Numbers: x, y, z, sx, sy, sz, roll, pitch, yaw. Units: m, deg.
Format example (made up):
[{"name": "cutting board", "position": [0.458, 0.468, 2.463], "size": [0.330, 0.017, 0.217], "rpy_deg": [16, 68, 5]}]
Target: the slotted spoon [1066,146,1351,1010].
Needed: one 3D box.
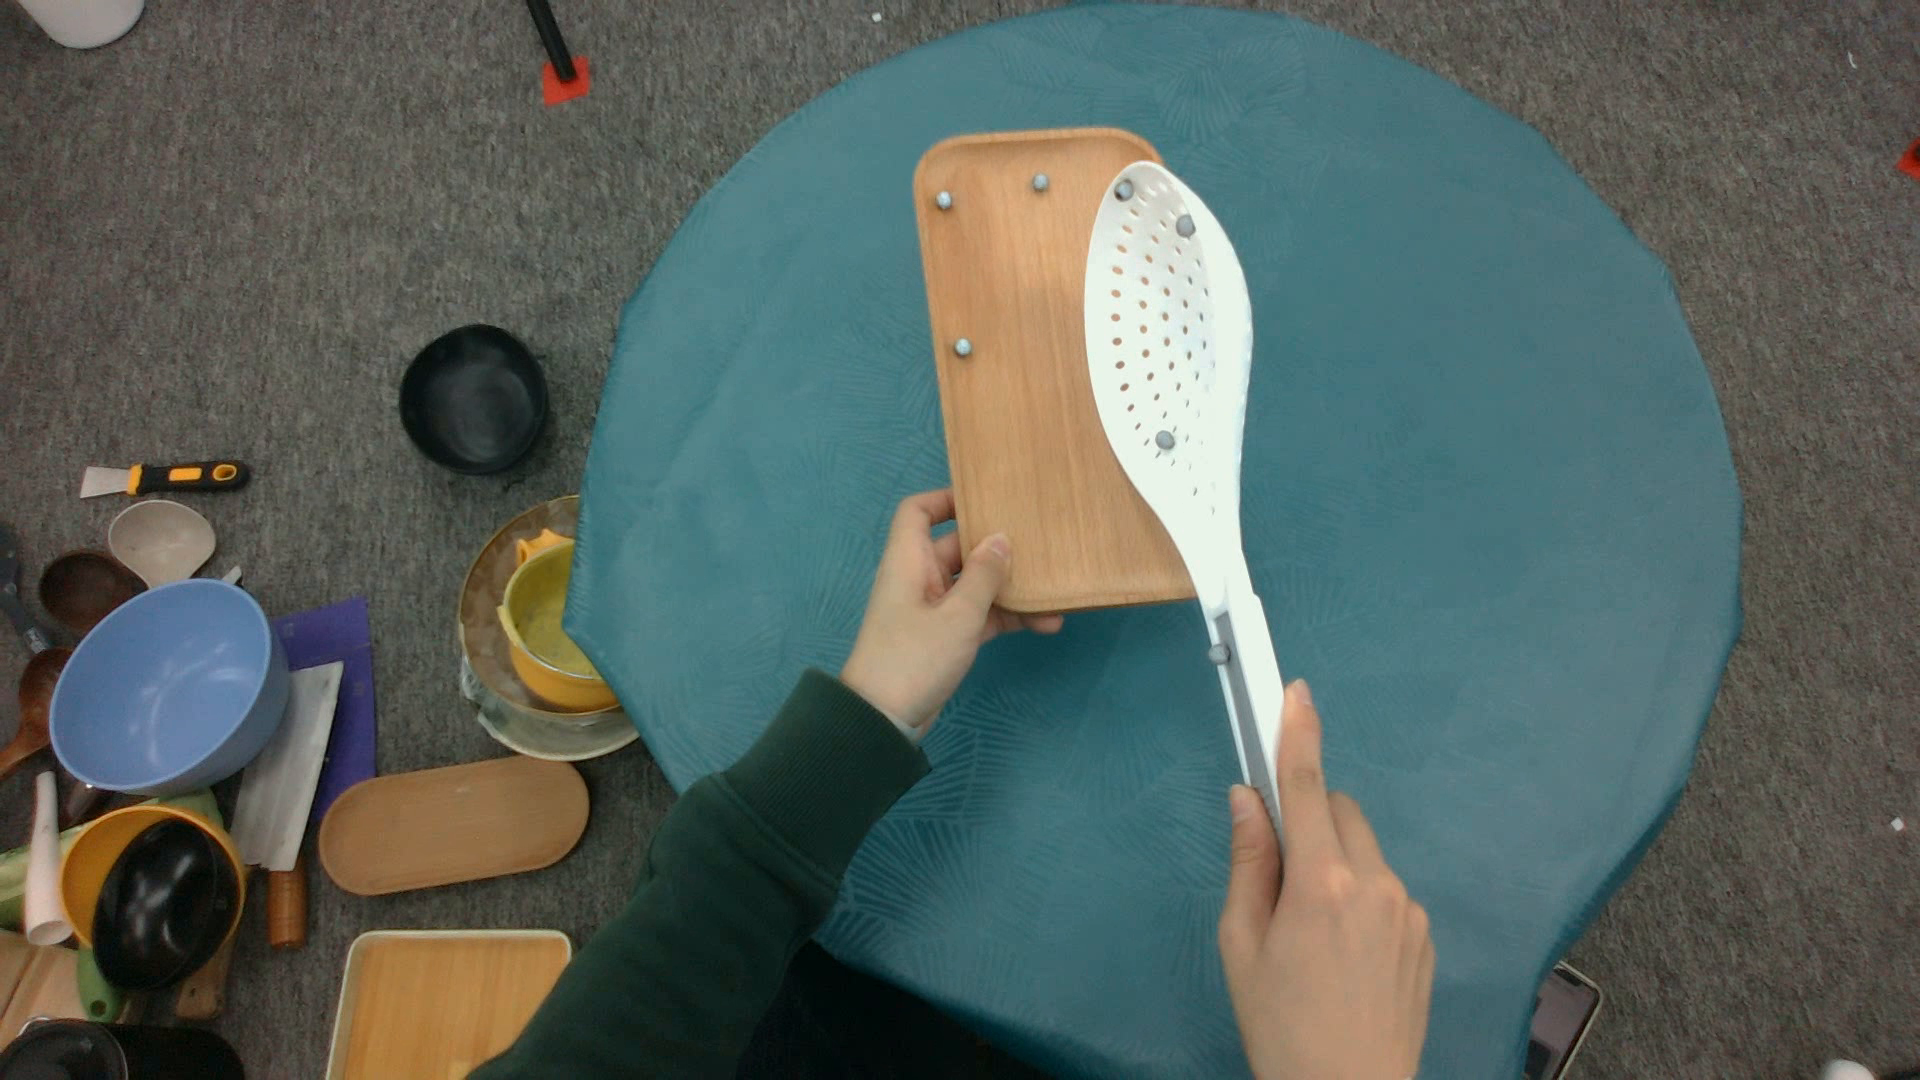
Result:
[{"name": "slotted spoon", "position": [0.099, 0.006, 0.551], "size": [0.046, 0.135, 0.350], "rpy_deg": [-3, 74, -15]}]

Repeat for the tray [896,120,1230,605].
[{"name": "tray", "position": [0.045, -0.090, 0.648], "size": [0.130, 0.023, 0.251], "rpy_deg": [-6, 69, -4]}]
